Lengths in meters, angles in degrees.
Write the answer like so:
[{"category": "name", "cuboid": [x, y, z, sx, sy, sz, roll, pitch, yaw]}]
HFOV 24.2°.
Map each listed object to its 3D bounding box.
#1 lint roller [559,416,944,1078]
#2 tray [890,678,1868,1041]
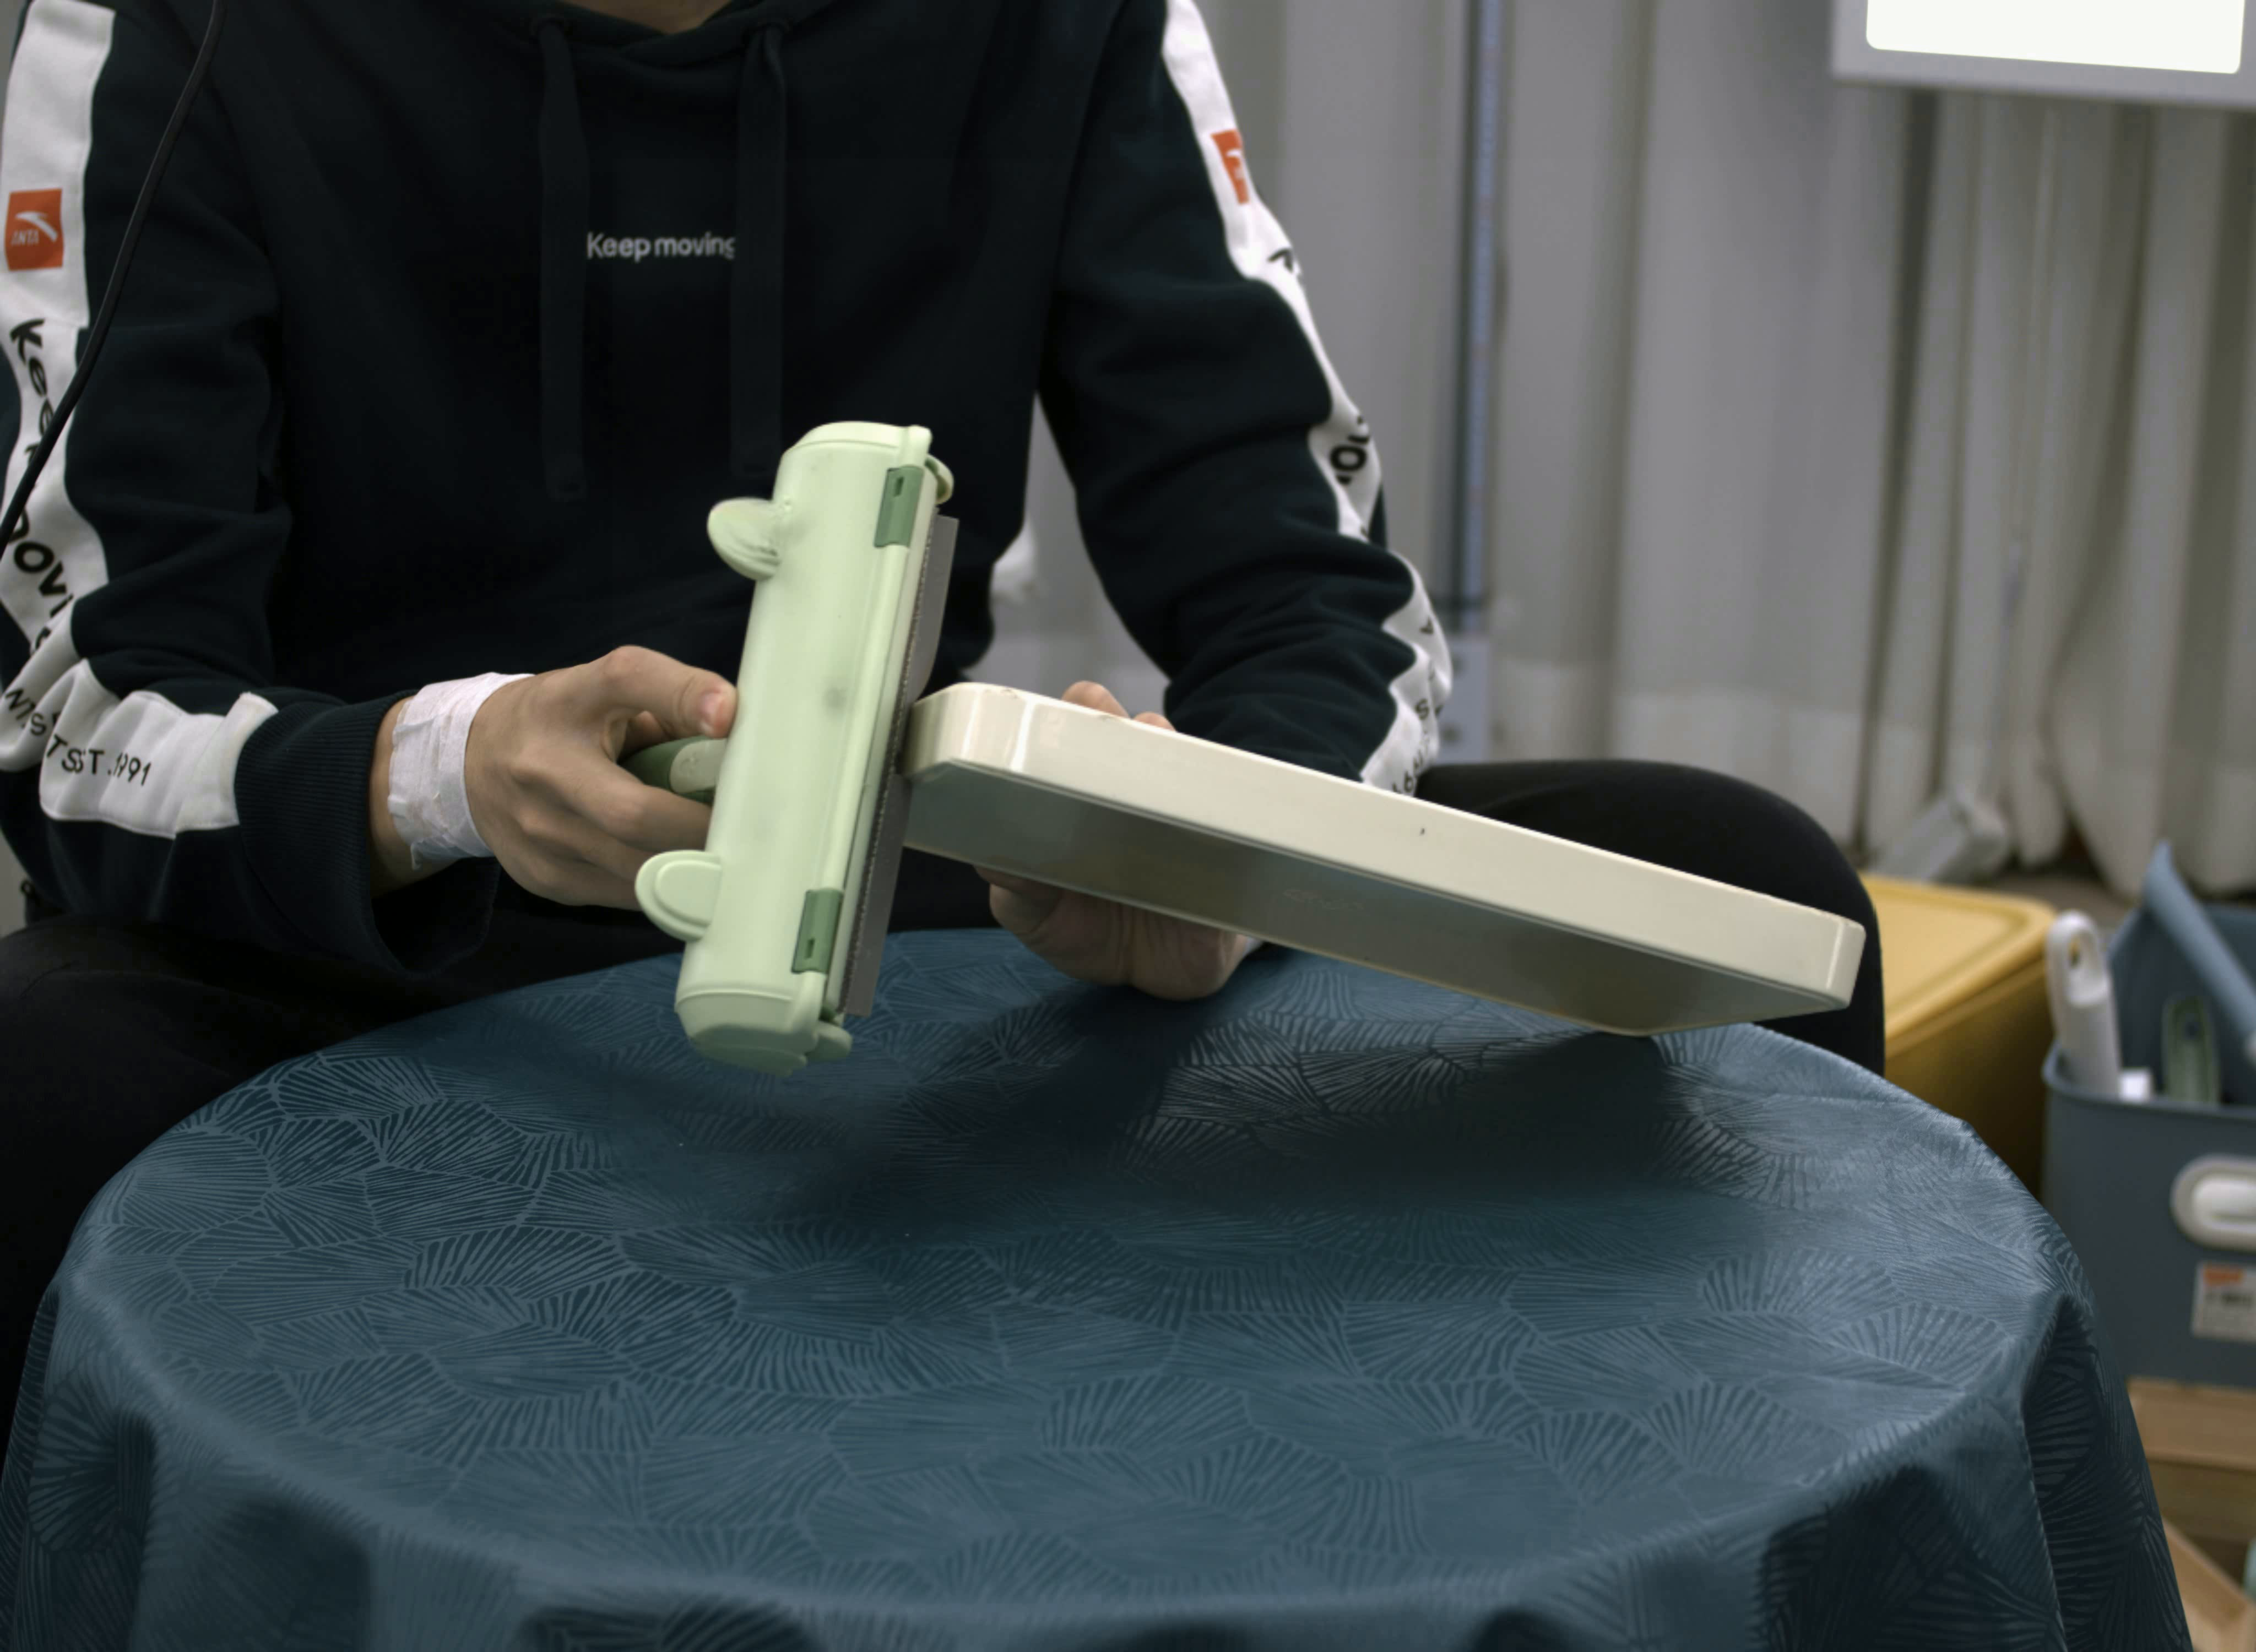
[{"category": "lint roller", "cuboid": [-0.137, -0.020, 1.608, 0.083, 0.198, 0.181, 24, -23, -40]}, {"category": "tray", "cuboid": [0.063, 0.015, 1.653, 0.301, 0.027, 0.191, 15, -10, -15]}]
